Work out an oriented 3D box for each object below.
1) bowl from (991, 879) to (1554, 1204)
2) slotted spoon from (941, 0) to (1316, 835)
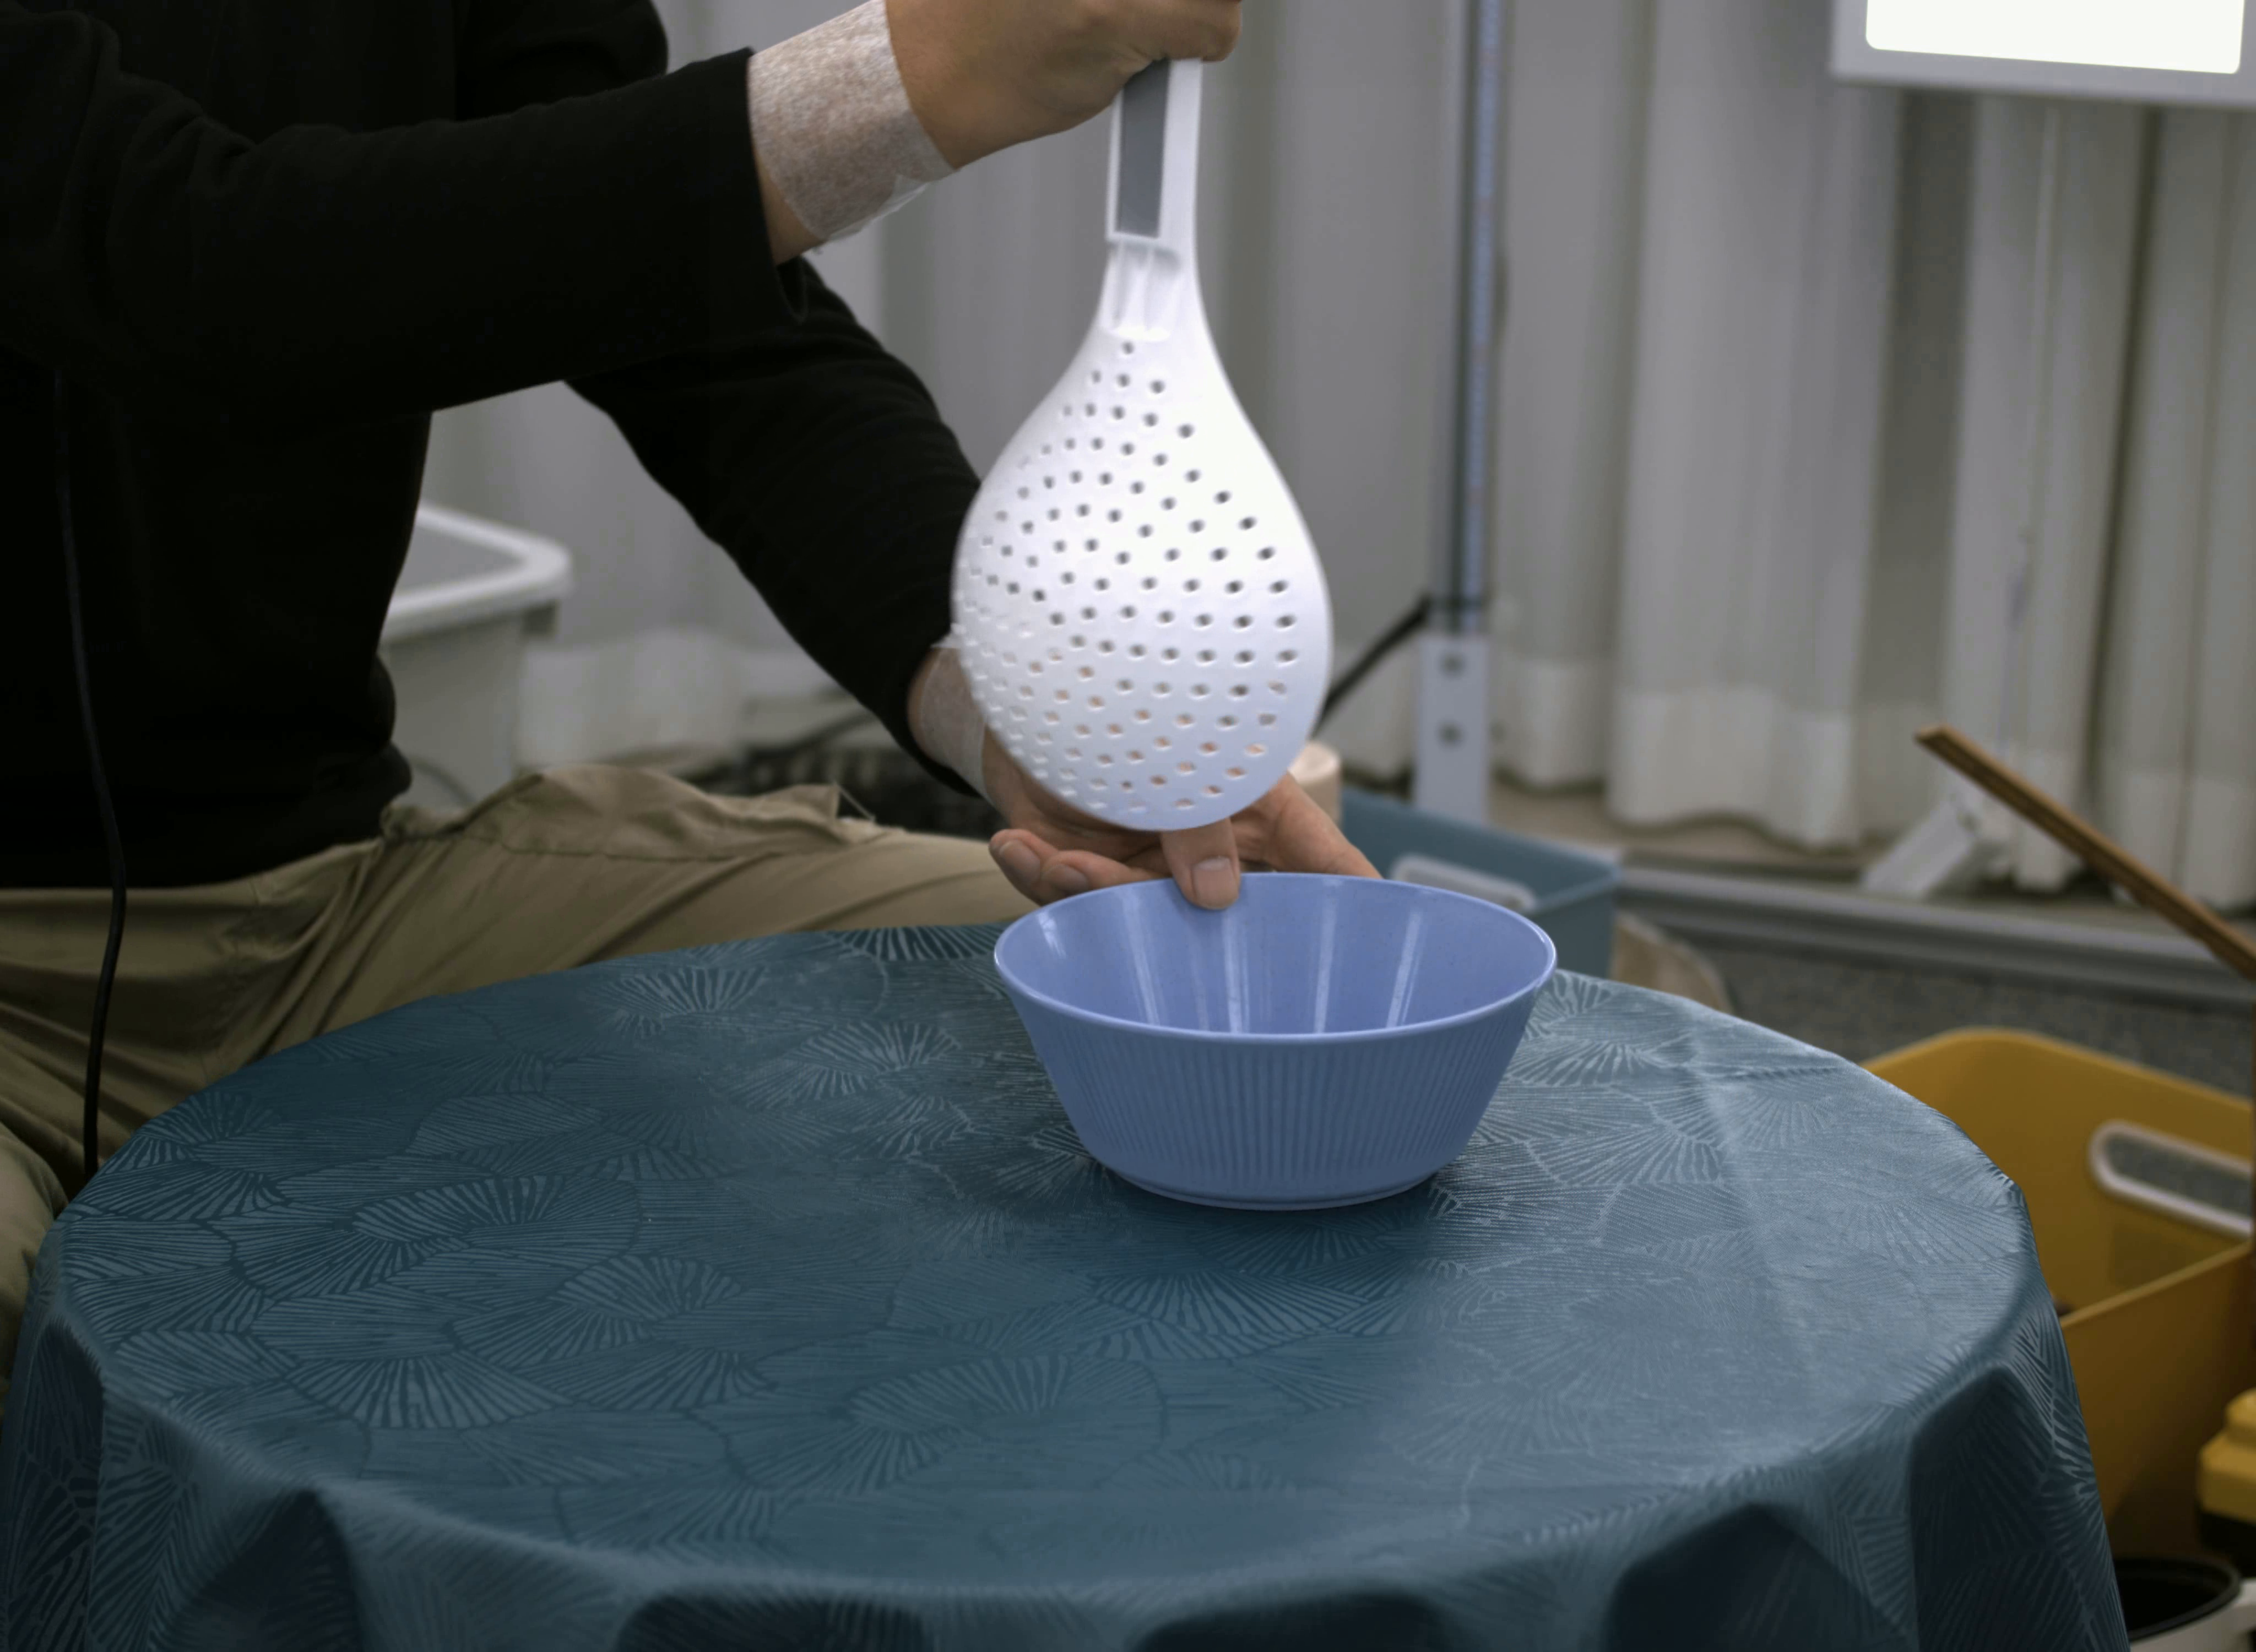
[{"bbox_3d":[0.045,0.069,1.646,0.175,0.071,0.175,0,15,1],"label":"bowl"},{"bbox_3d":[0.004,-0.167,1.622,0.134,0.352,0.046,13,14,26],"label":"slotted spoon"}]
